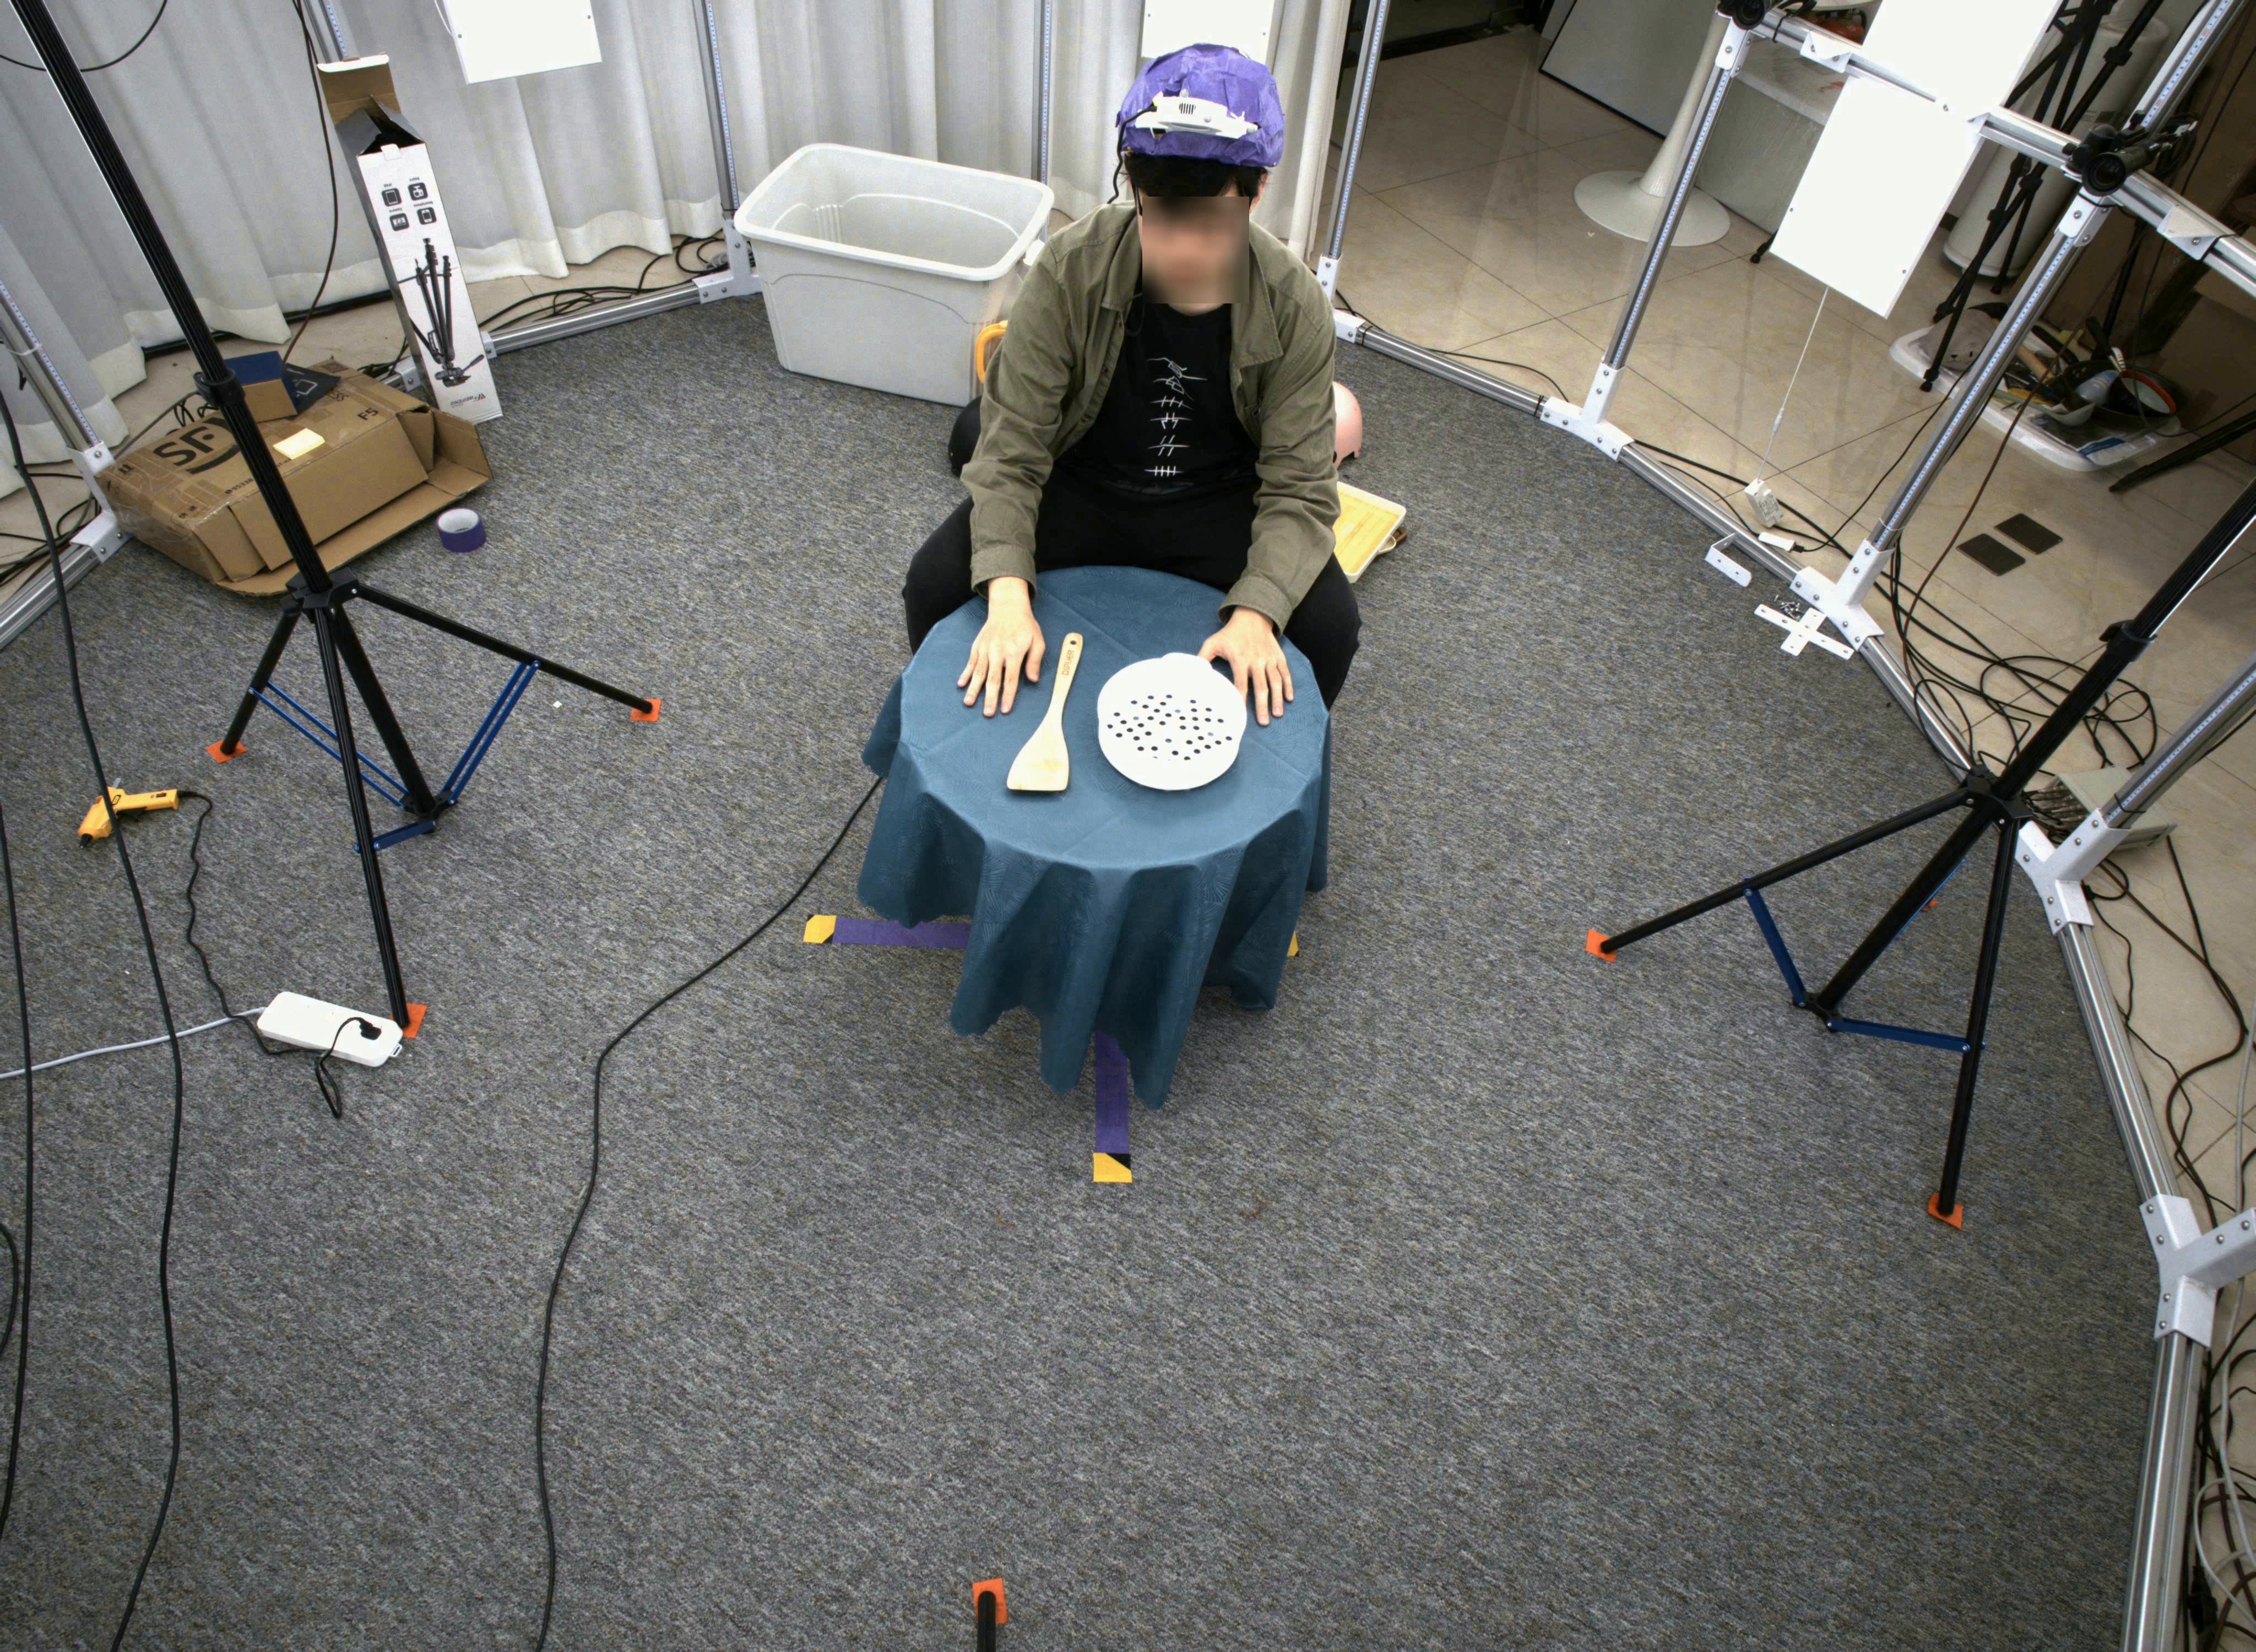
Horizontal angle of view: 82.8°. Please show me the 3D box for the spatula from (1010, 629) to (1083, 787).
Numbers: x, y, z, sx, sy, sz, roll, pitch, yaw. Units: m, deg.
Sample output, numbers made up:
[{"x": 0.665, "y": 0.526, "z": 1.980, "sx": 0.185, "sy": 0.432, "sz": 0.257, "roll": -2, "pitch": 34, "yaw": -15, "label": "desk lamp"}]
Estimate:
[{"x": -0.097, "y": -0.169, "z": 1.786, "sx": 0.080, "sy": 0.016, "sz": 0.335, "roll": 8, "pitch": 49, "yaw": 2, "label": "spatula"}]

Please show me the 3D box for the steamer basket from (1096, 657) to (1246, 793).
[{"x": 0.056, "y": -0.133, "z": 1.738, "sx": 0.202, "sy": 0.067, "sz": 0.236, "roll": 13, "pitch": 47, "yaw": 6, "label": "steamer basket"}]
